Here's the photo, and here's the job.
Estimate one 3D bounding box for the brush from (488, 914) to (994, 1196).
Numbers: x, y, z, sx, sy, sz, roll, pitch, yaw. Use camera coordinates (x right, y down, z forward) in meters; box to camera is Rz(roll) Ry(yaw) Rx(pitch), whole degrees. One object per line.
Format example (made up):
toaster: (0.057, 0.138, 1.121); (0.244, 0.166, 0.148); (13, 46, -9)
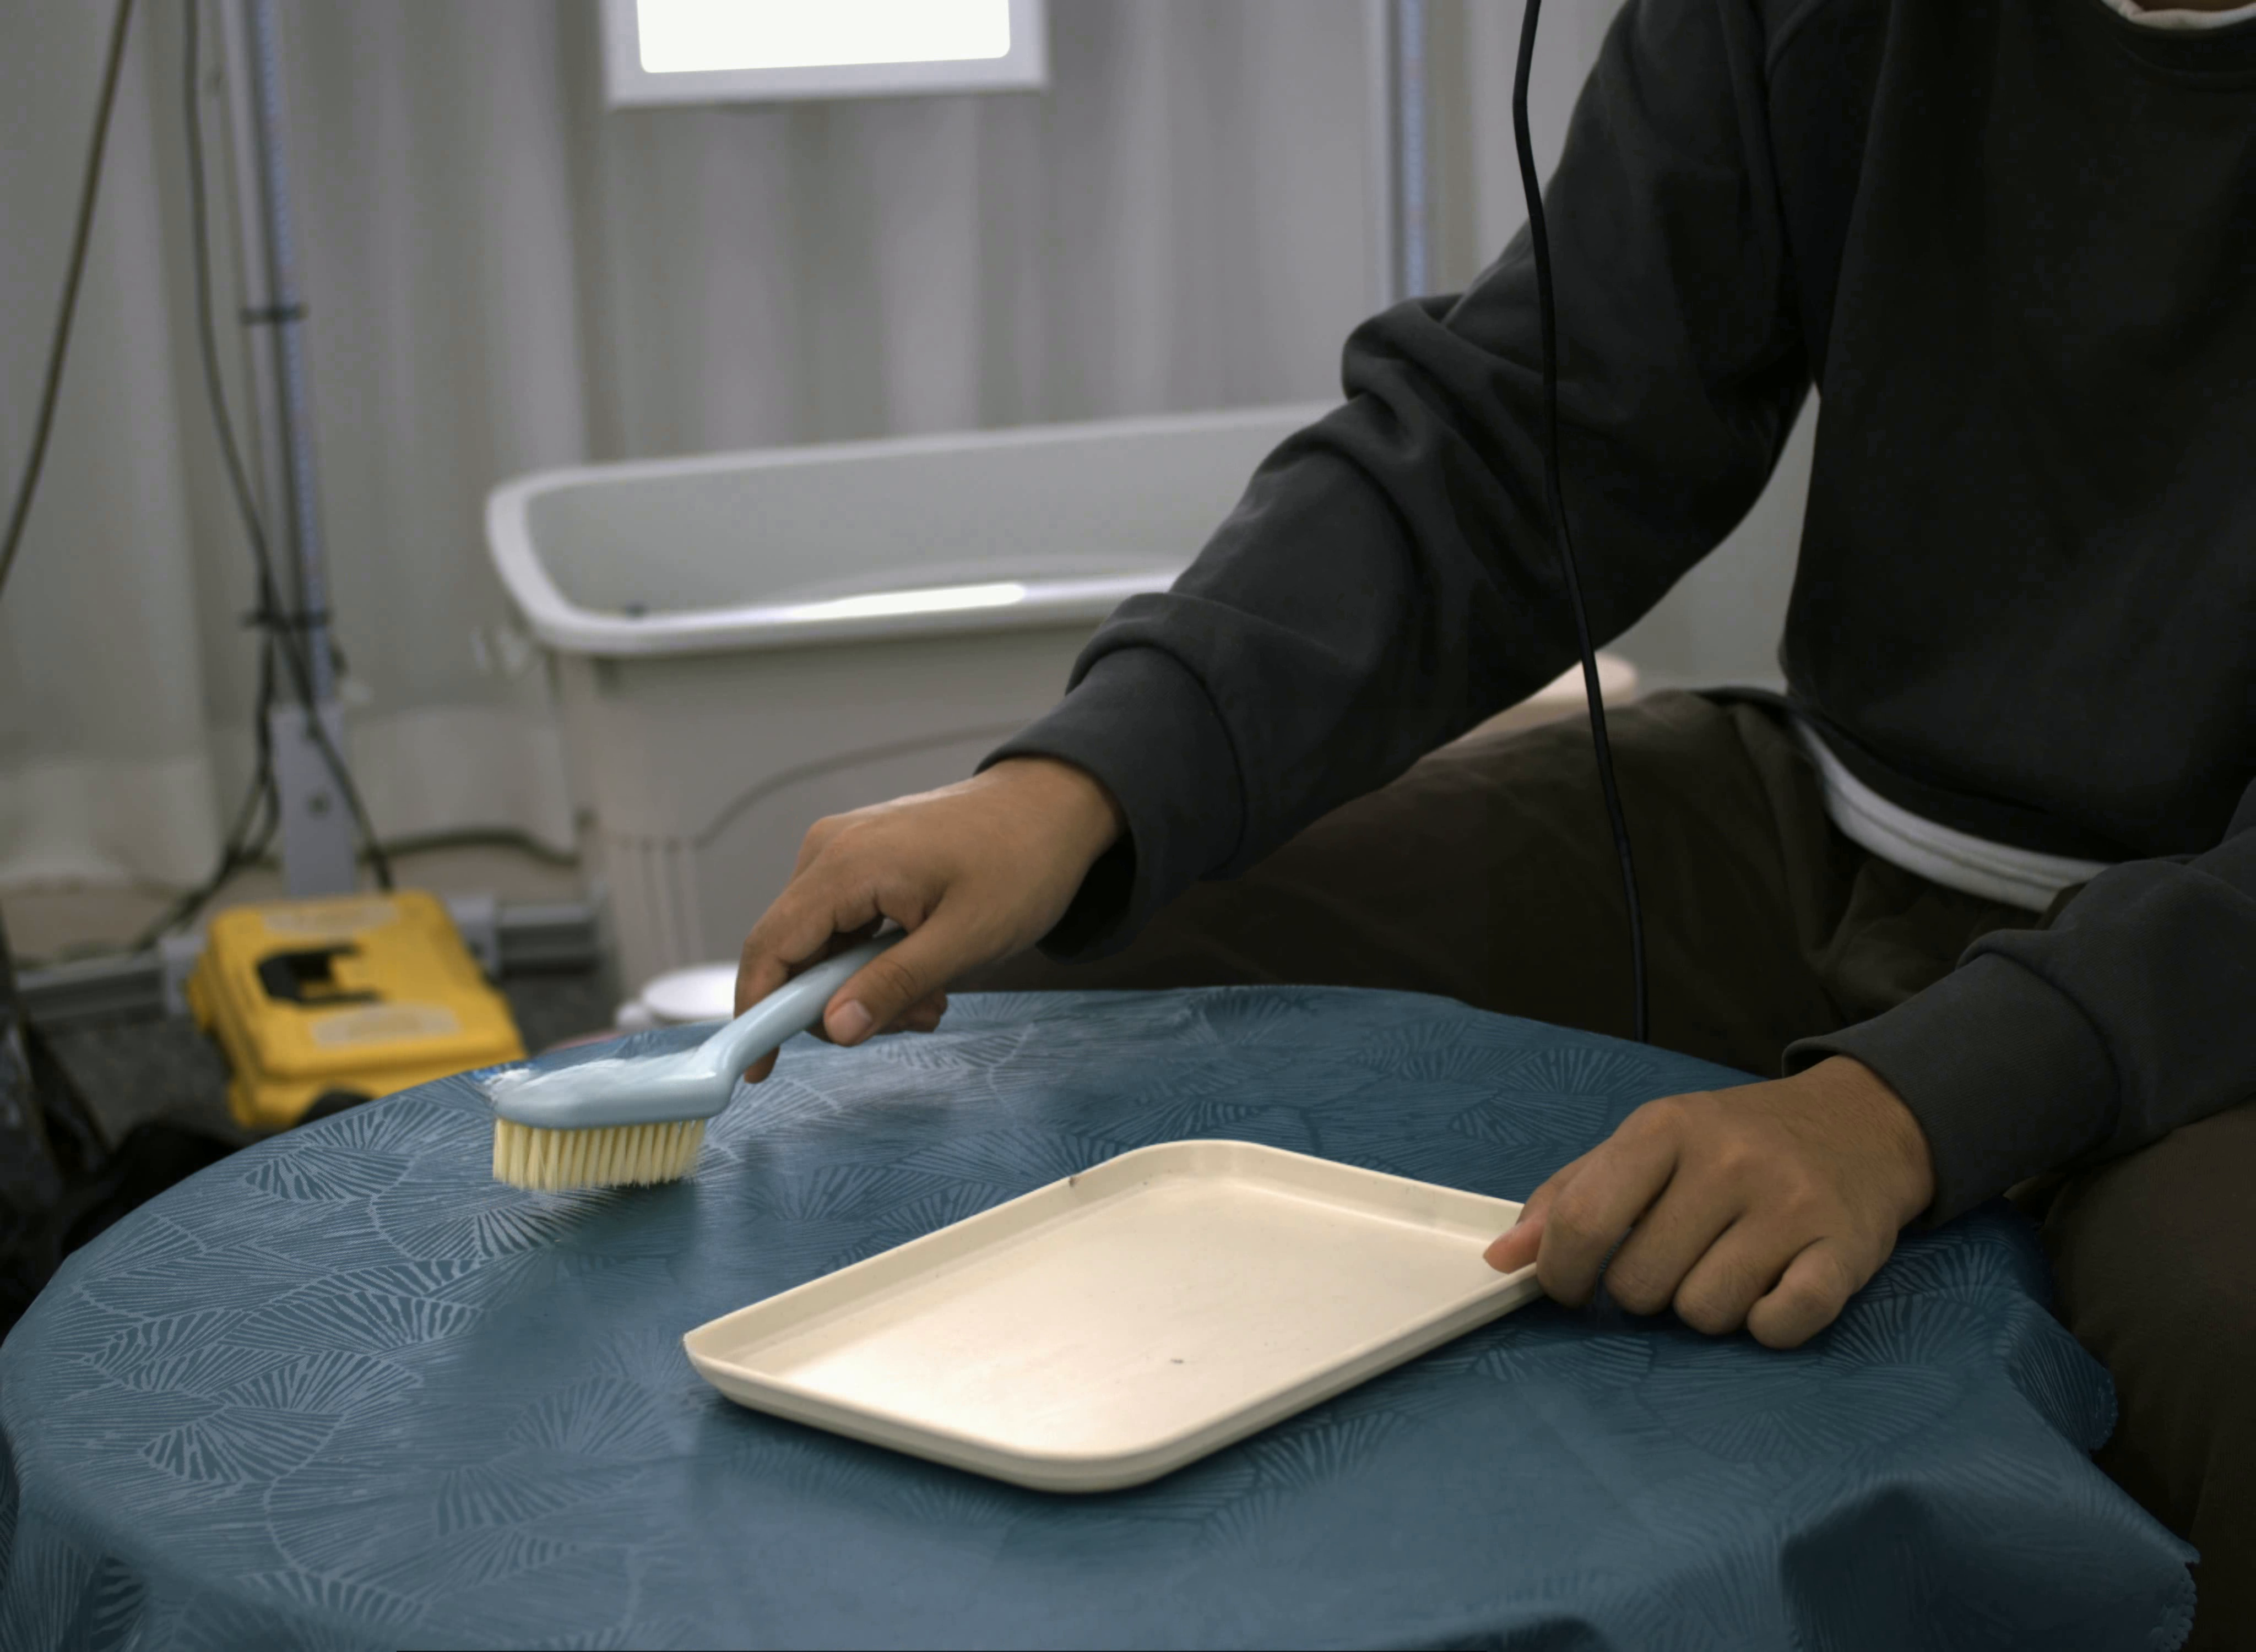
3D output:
brush: (-0.122, 0.075, 1.781); (0.038, 0.049, 0.229); (12, 23, 35)

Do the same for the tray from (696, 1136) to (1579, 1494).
tray: (0.005, 0.140, 1.585); (0.172, 0.017, 0.239); (11, 20, 40)
